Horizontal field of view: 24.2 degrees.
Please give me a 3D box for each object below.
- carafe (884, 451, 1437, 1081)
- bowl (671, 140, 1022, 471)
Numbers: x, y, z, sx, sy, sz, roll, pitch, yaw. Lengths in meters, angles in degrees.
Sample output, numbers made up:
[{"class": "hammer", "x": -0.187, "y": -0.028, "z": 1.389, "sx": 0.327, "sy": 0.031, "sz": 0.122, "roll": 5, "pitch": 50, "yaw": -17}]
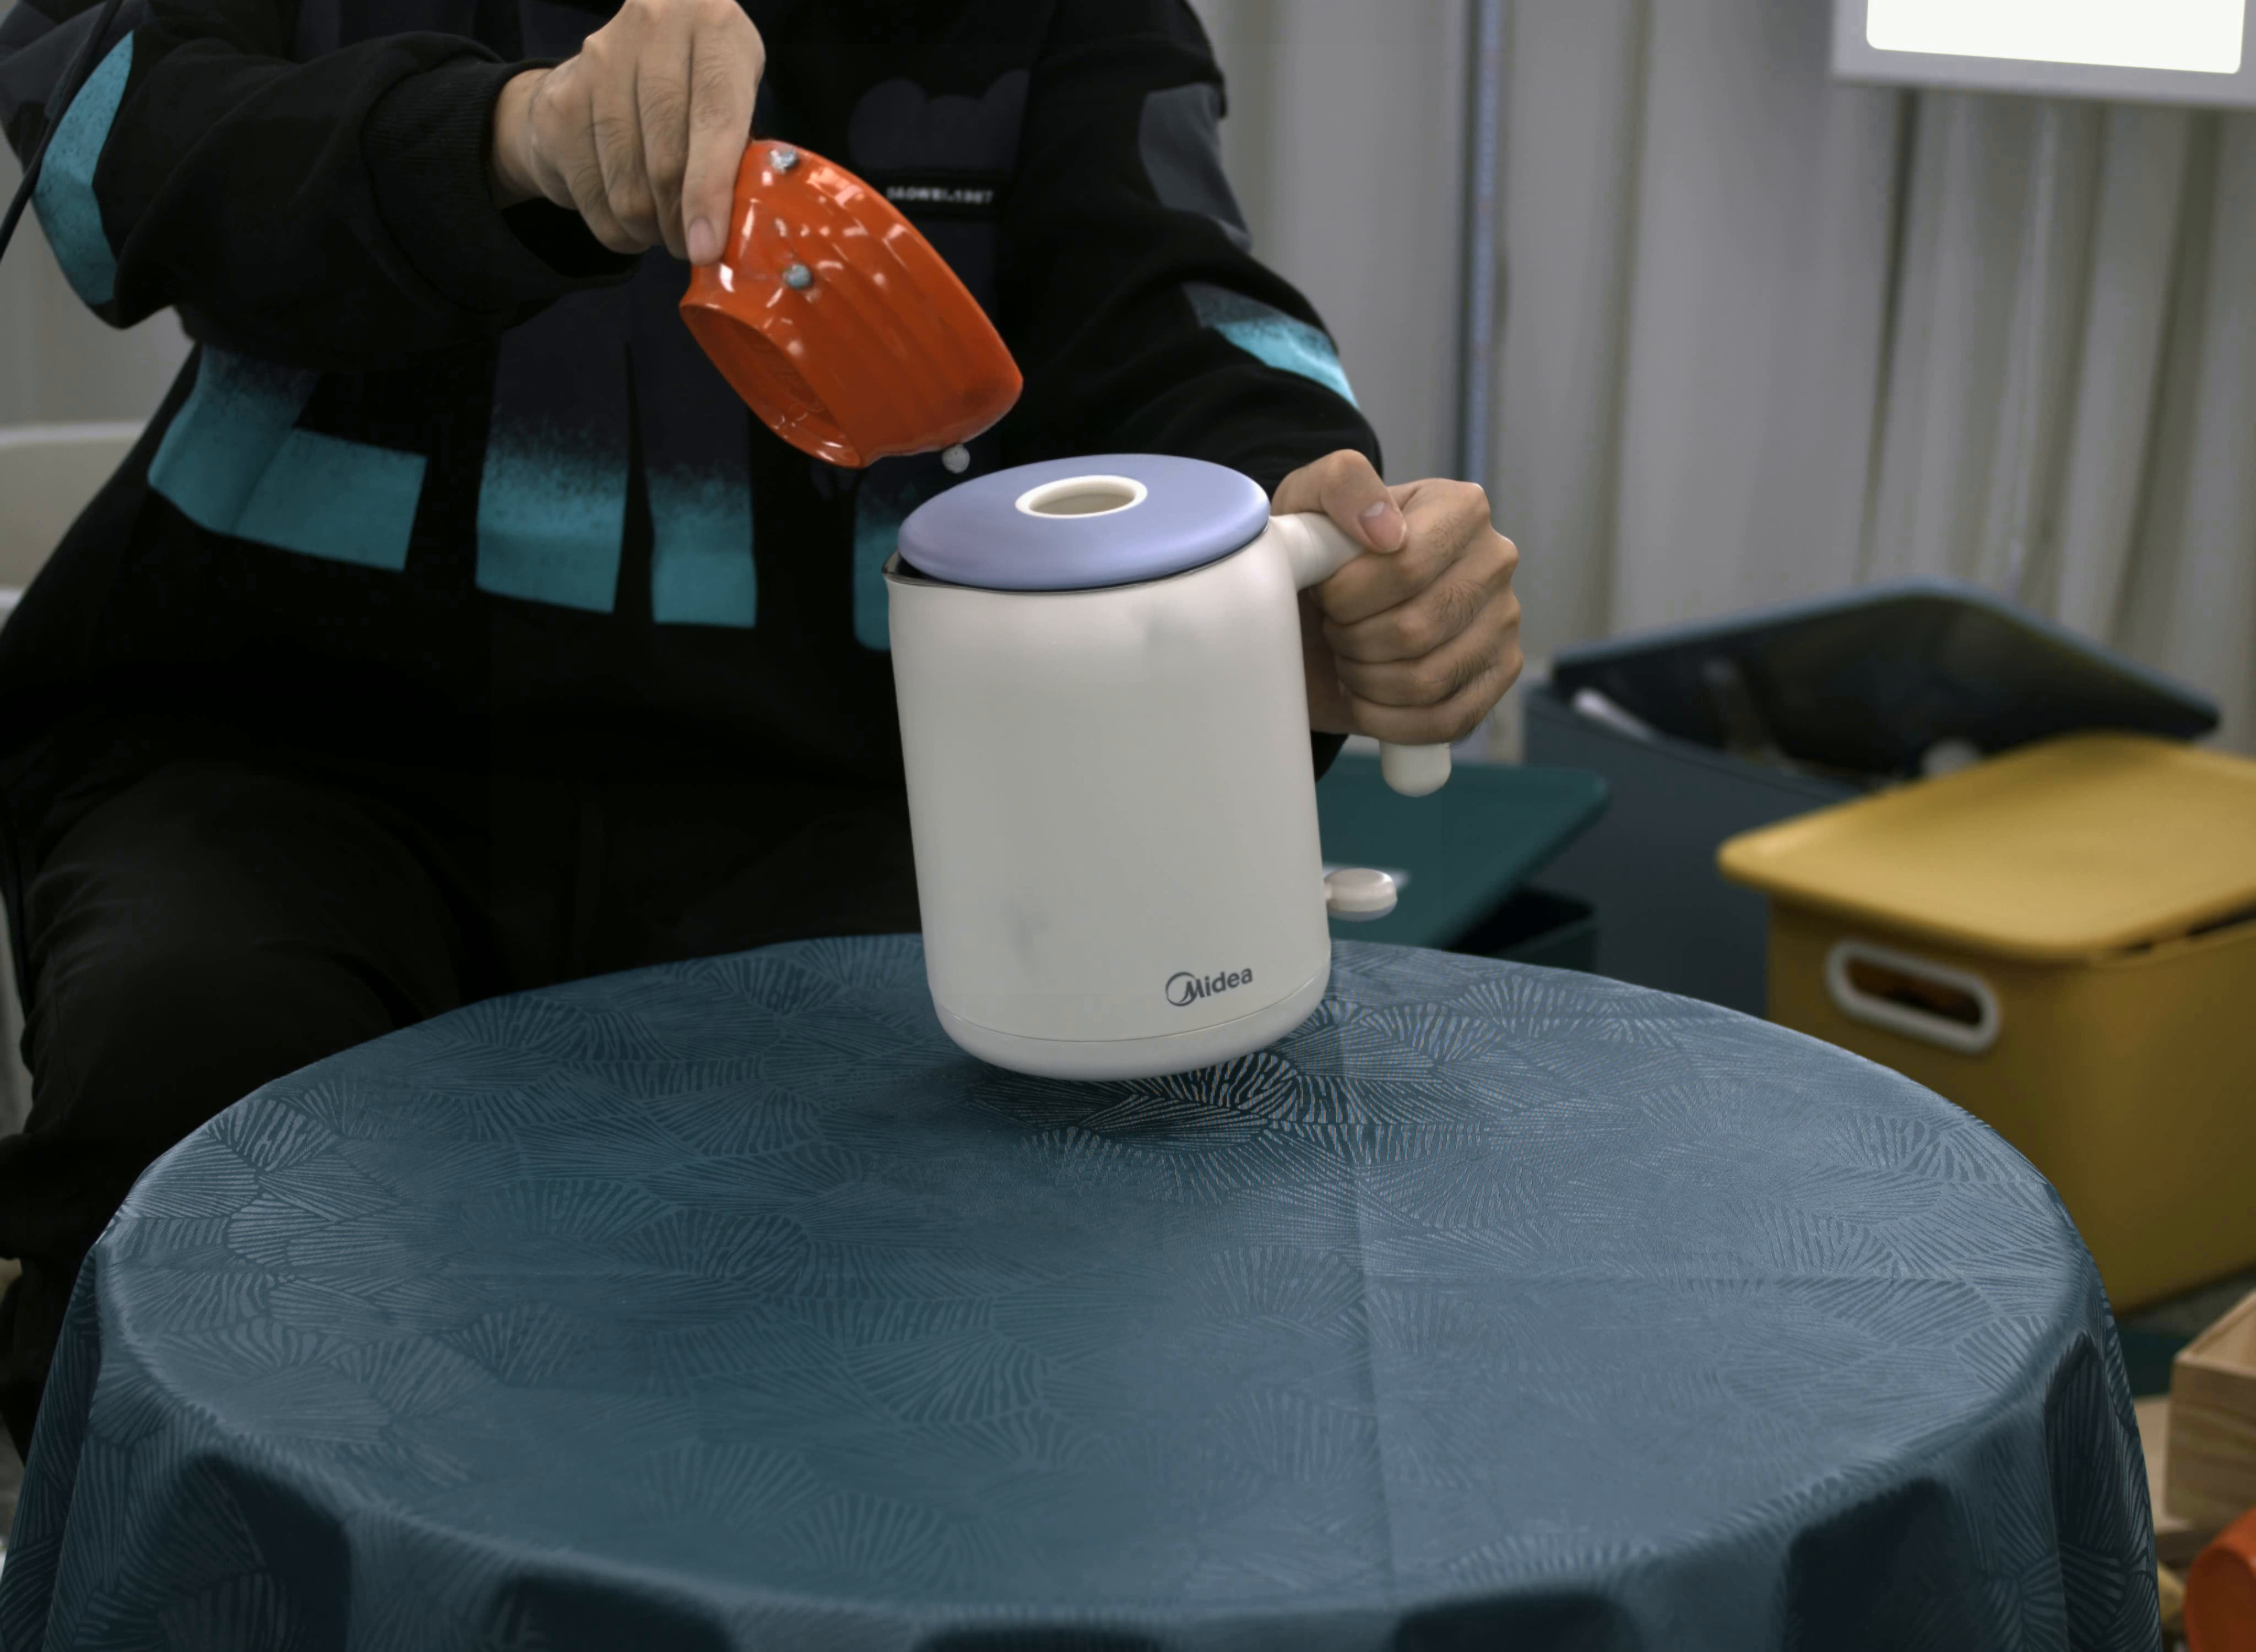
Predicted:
[{"class": "carafe", "x": 0.015, "y": -0.025, "z": 1.691, "sx": 0.191, "sy": 0.184, "sz": 0.130, "roll": -12, "pitch": 23, "yaw": -24}, {"class": "bowl", "x": -0.093, "y": -0.149, "z": 1.577, "sx": 0.051, "sy": 0.120, "sz": 0.117, "roll": -49, "pitch": 33, "yaw": -11}]
